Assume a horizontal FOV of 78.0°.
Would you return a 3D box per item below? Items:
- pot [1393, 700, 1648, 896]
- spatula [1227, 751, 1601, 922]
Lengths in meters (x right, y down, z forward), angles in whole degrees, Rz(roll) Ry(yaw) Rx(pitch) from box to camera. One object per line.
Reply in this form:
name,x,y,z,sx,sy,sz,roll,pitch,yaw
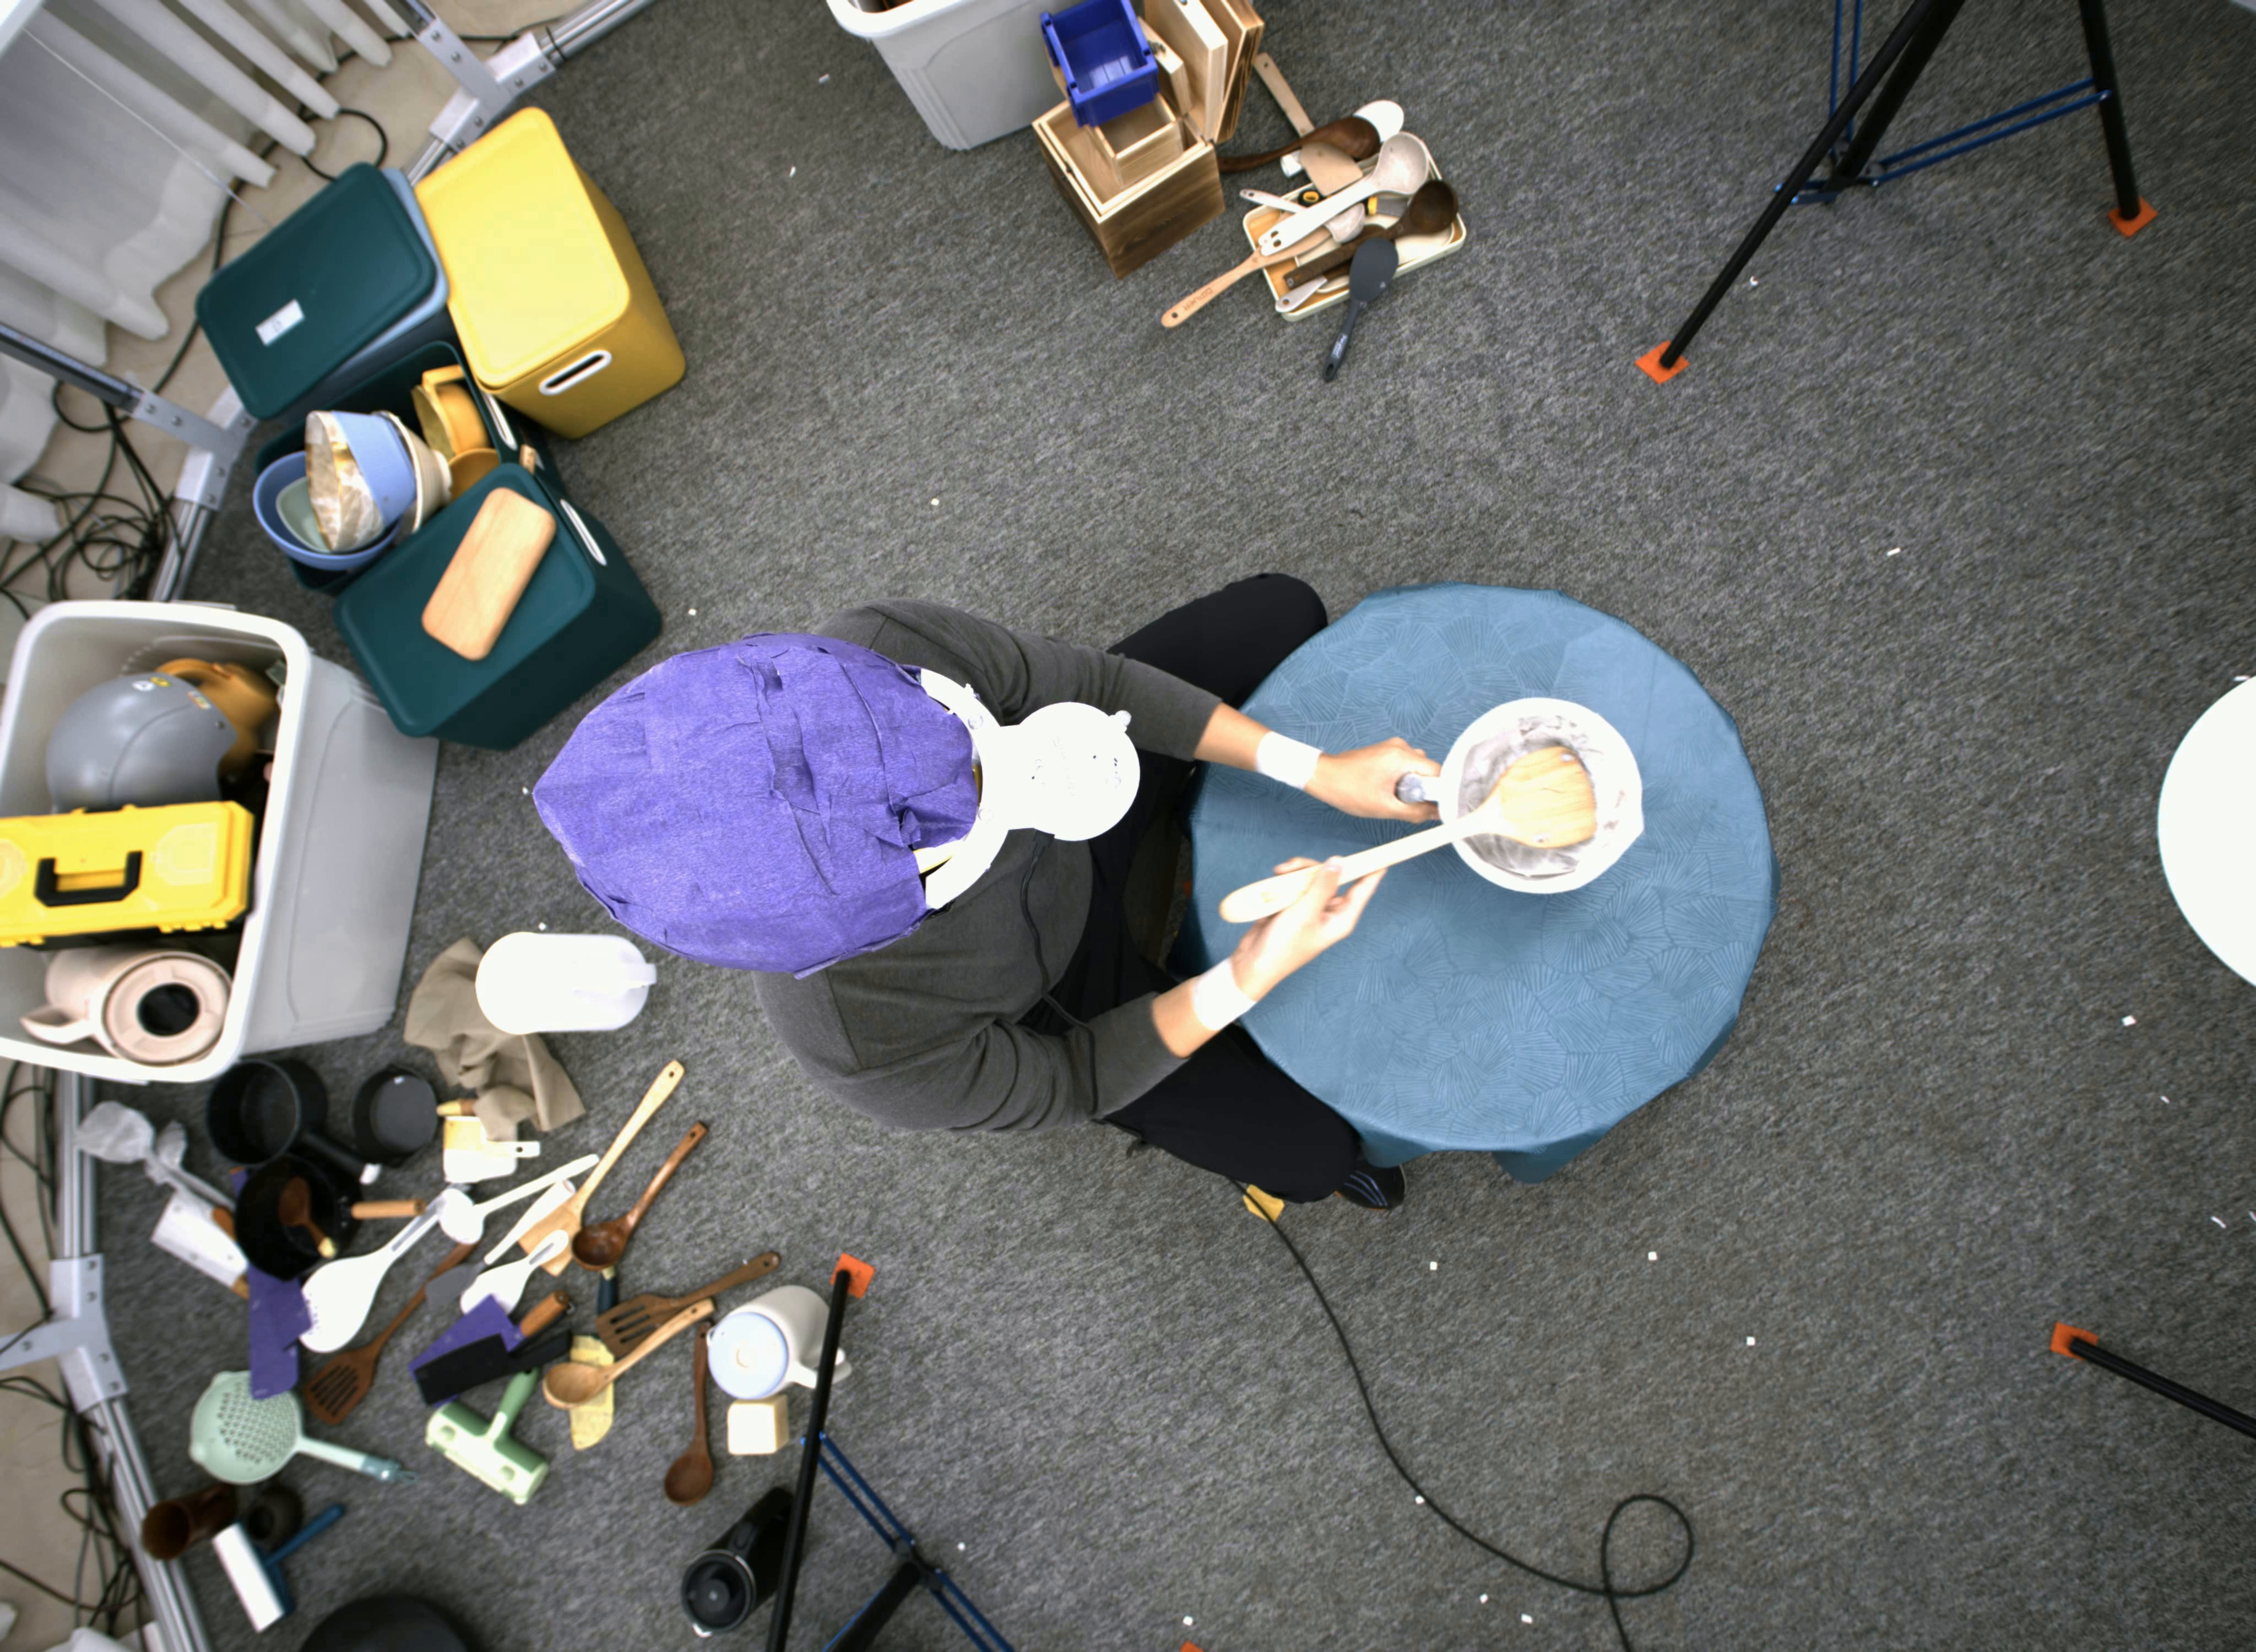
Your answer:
pot,0.367,-0.031,1.305,0.235,0.135,0.179,2,94,16
spatula,0.265,0.021,1.247,0.388,0.018,0.095,-18,89,-17
